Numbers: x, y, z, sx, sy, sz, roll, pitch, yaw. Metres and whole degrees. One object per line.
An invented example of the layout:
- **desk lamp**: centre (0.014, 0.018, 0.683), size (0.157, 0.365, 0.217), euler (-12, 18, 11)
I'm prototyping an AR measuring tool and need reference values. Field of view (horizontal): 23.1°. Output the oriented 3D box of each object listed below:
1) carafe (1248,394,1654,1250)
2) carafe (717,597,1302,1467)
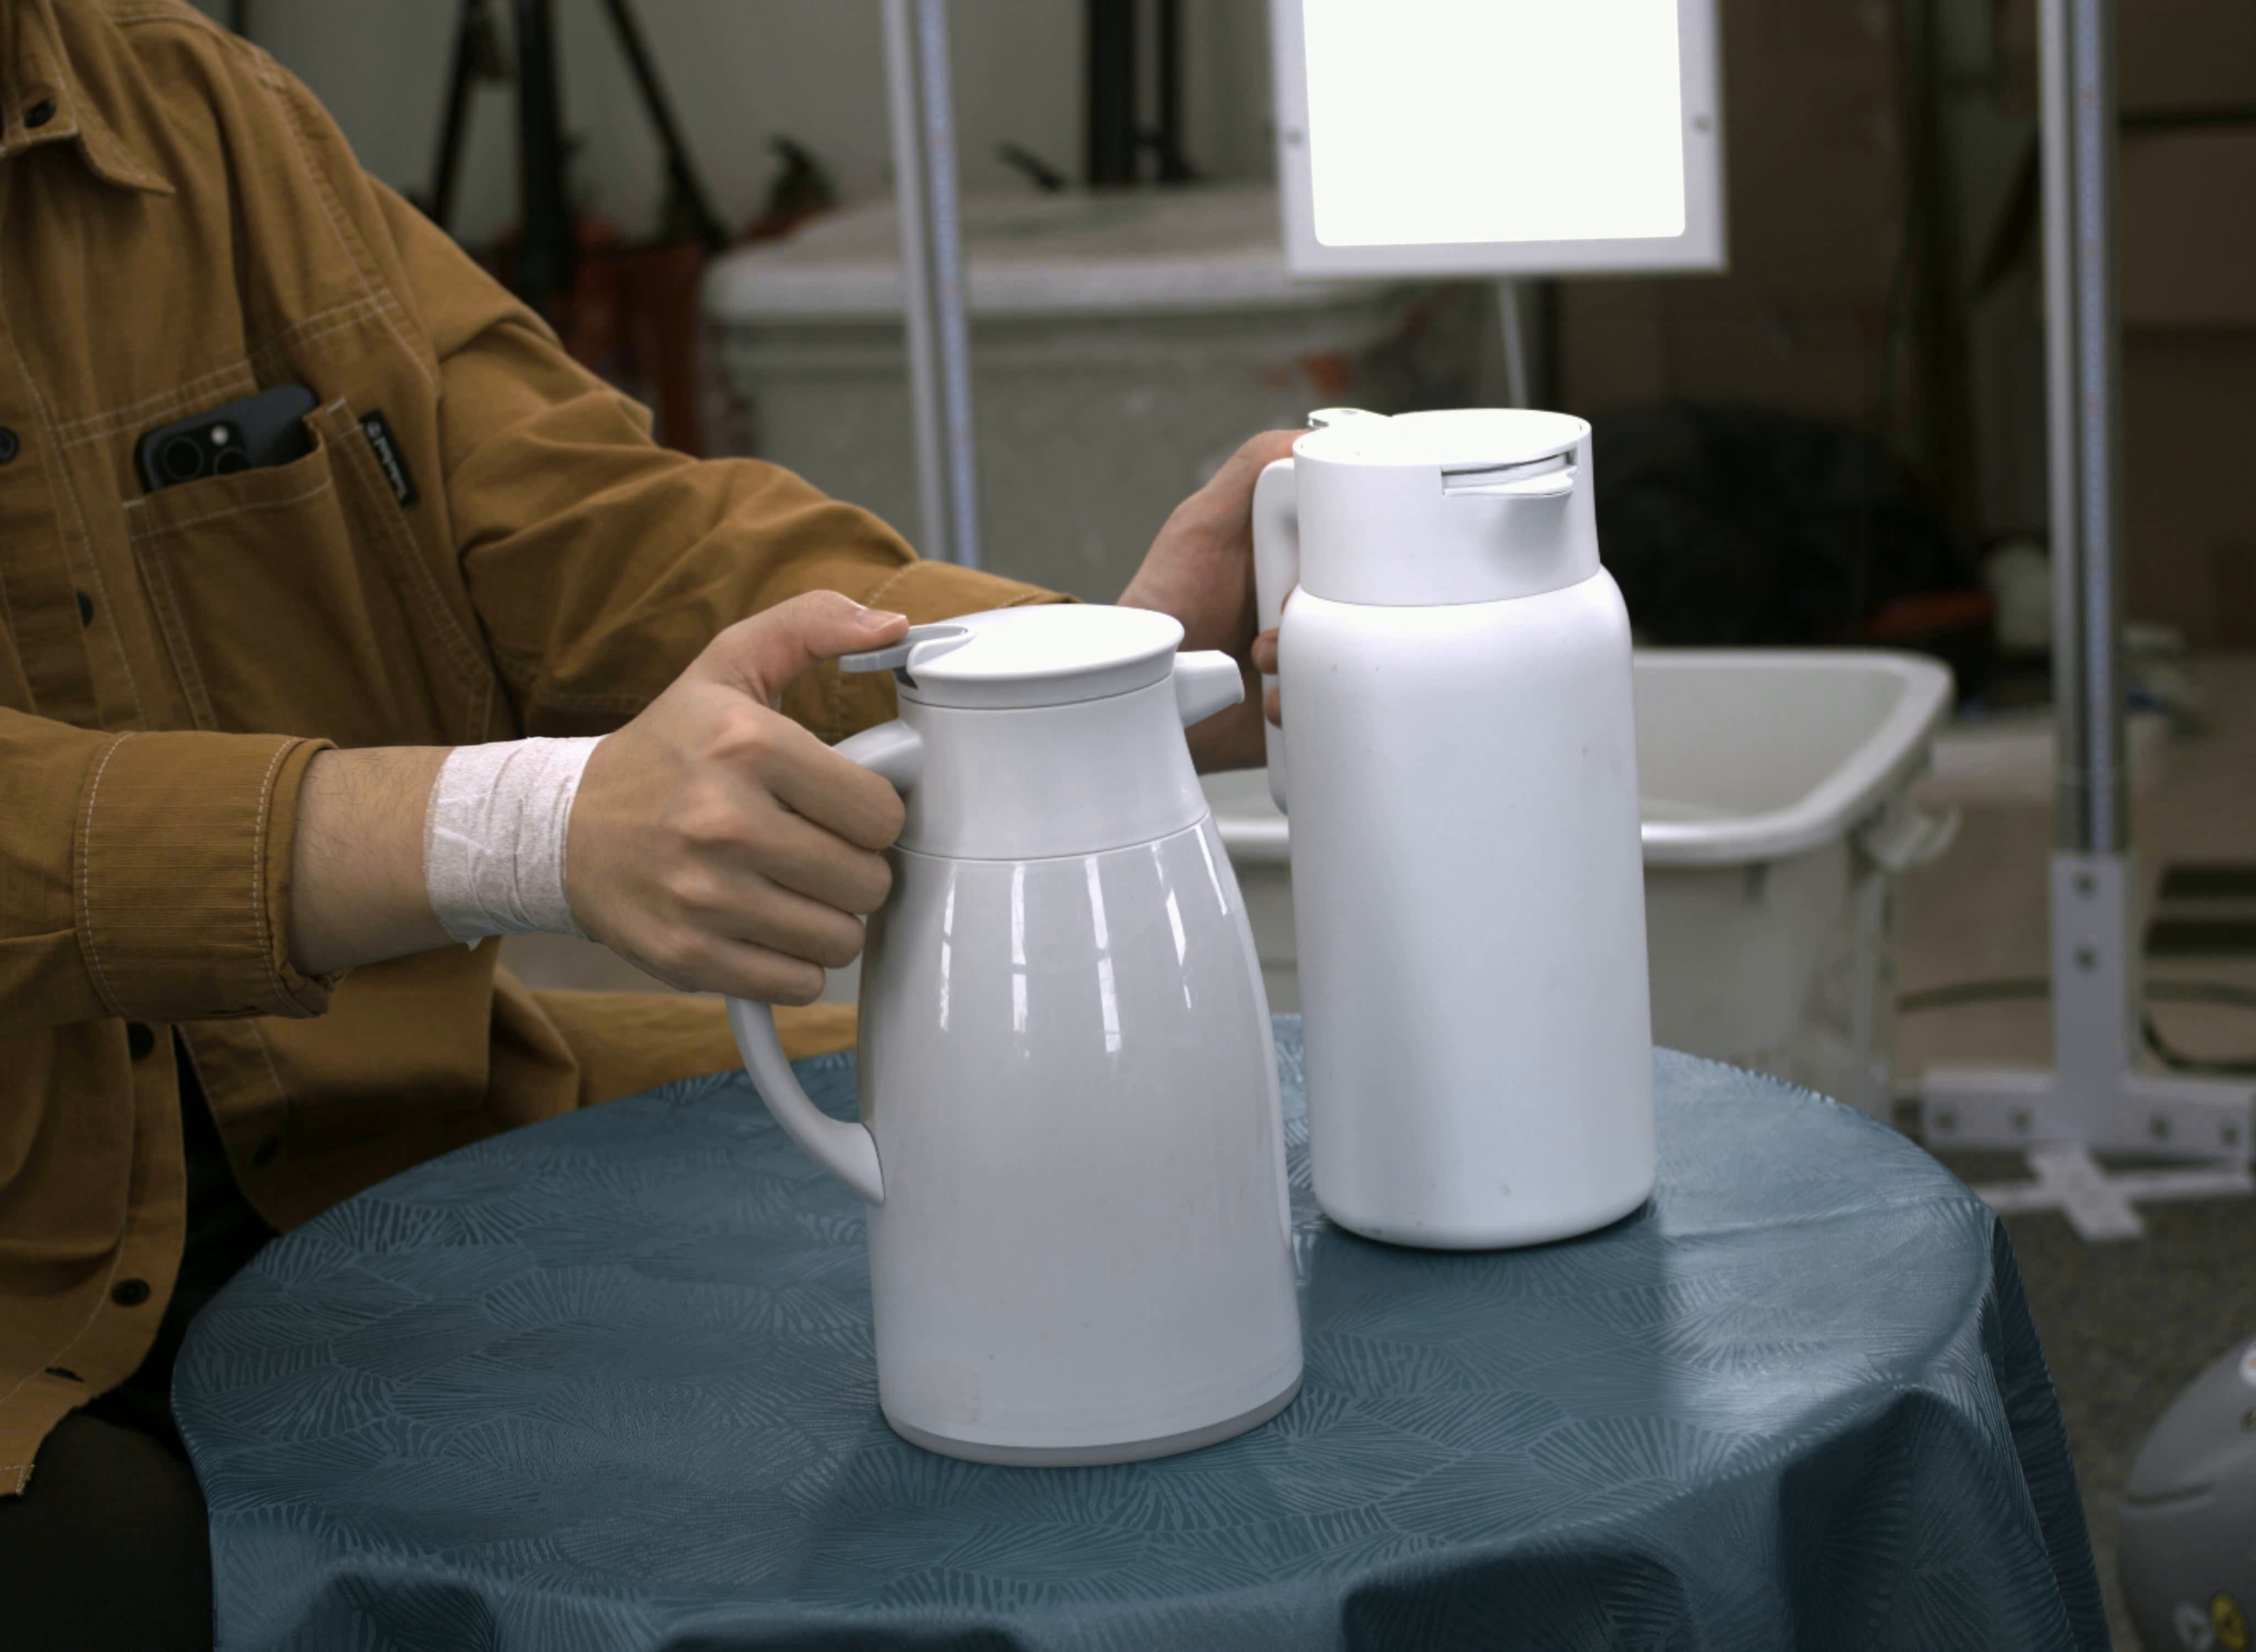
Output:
- **carafe**: centre (0.101, -0.004, 1.832), size (0.121, 0.270, 0.176), euler (-14, 16, -27)
- **carafe**: centre (-0.039, 0.059, 1.667), size (0.165, 0.249, 0.134), euler (-9, 14, -15)
